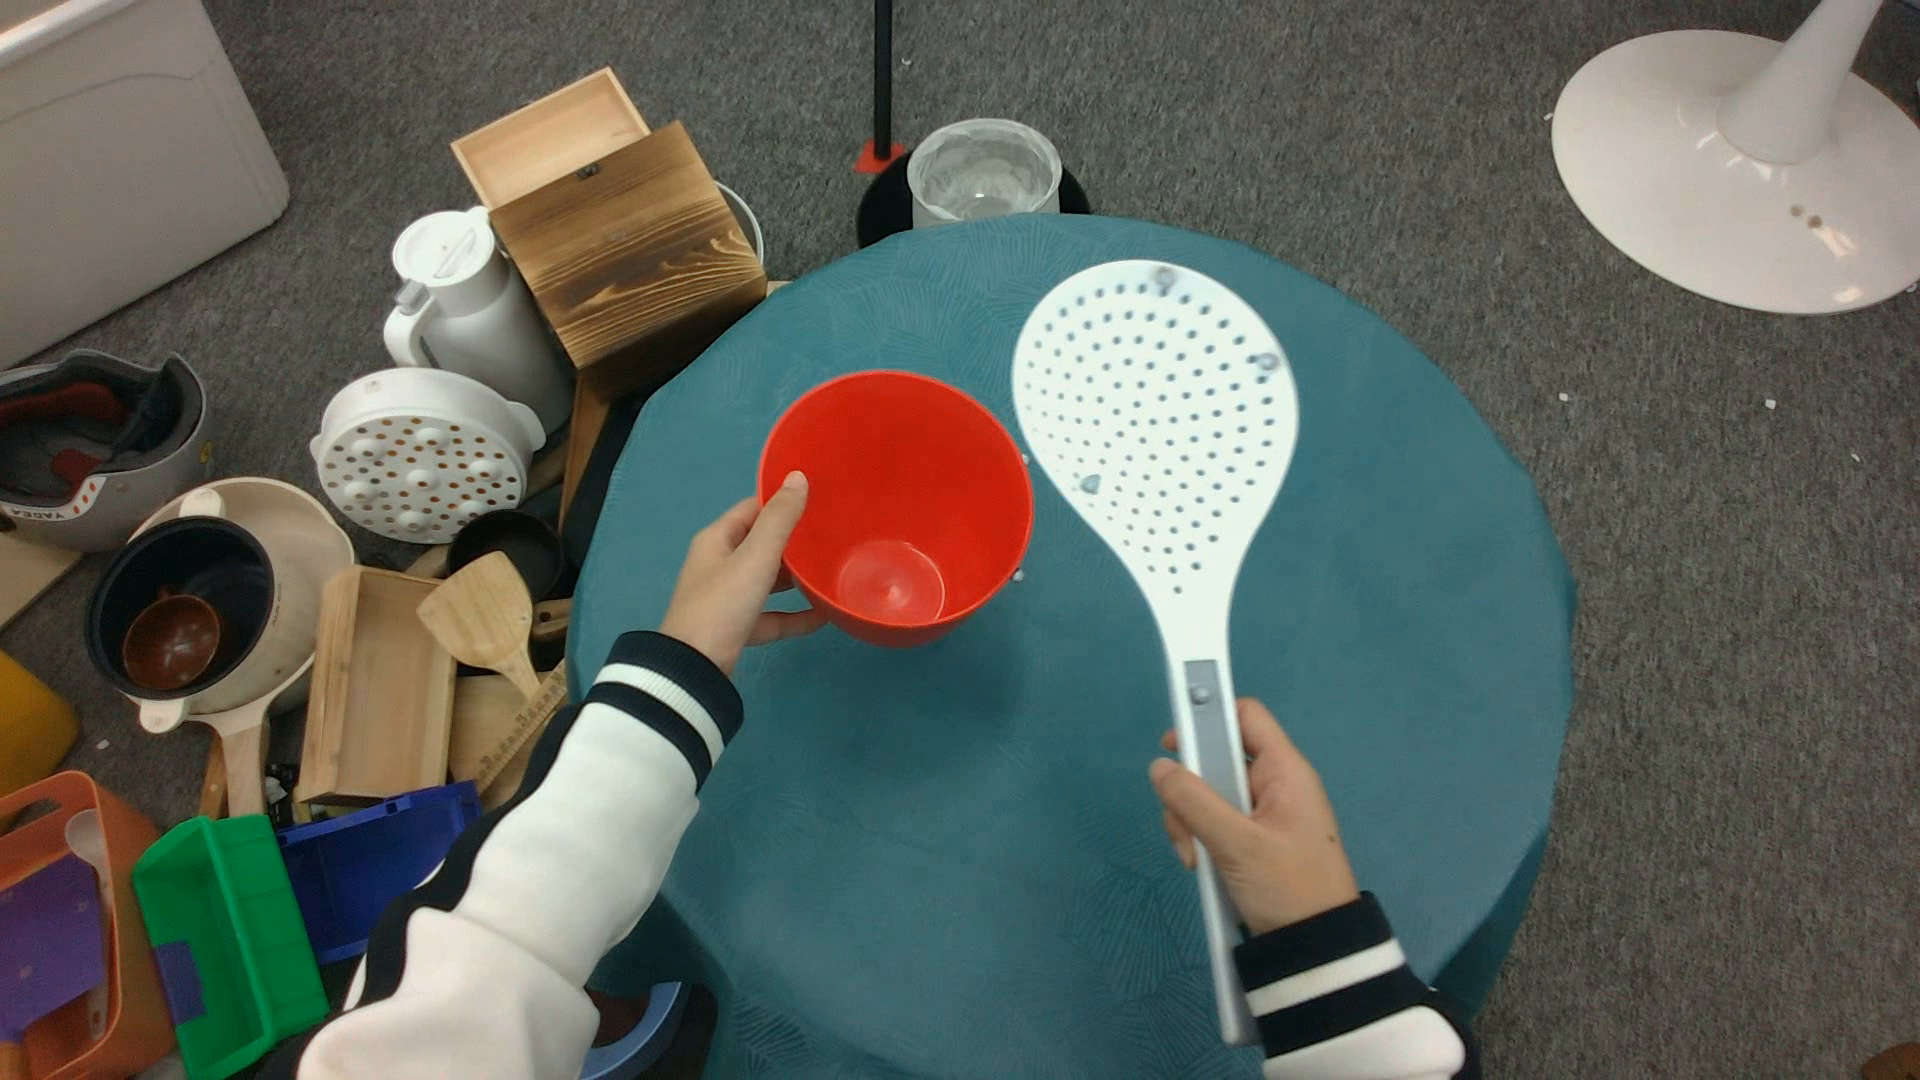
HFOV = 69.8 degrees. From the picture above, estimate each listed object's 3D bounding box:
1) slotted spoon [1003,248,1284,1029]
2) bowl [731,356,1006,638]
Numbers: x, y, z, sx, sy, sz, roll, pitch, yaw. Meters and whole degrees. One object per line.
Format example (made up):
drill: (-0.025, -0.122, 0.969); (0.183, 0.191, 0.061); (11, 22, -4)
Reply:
slotted spoon: (0.094, 0.033, 0.618); (0.136, 0.045, 0.350); (-2, 71, -12)
bowl: (-0.054, -0.011, 0.756); (0.148, 0.104, 0.148); (7, 56, -10)
